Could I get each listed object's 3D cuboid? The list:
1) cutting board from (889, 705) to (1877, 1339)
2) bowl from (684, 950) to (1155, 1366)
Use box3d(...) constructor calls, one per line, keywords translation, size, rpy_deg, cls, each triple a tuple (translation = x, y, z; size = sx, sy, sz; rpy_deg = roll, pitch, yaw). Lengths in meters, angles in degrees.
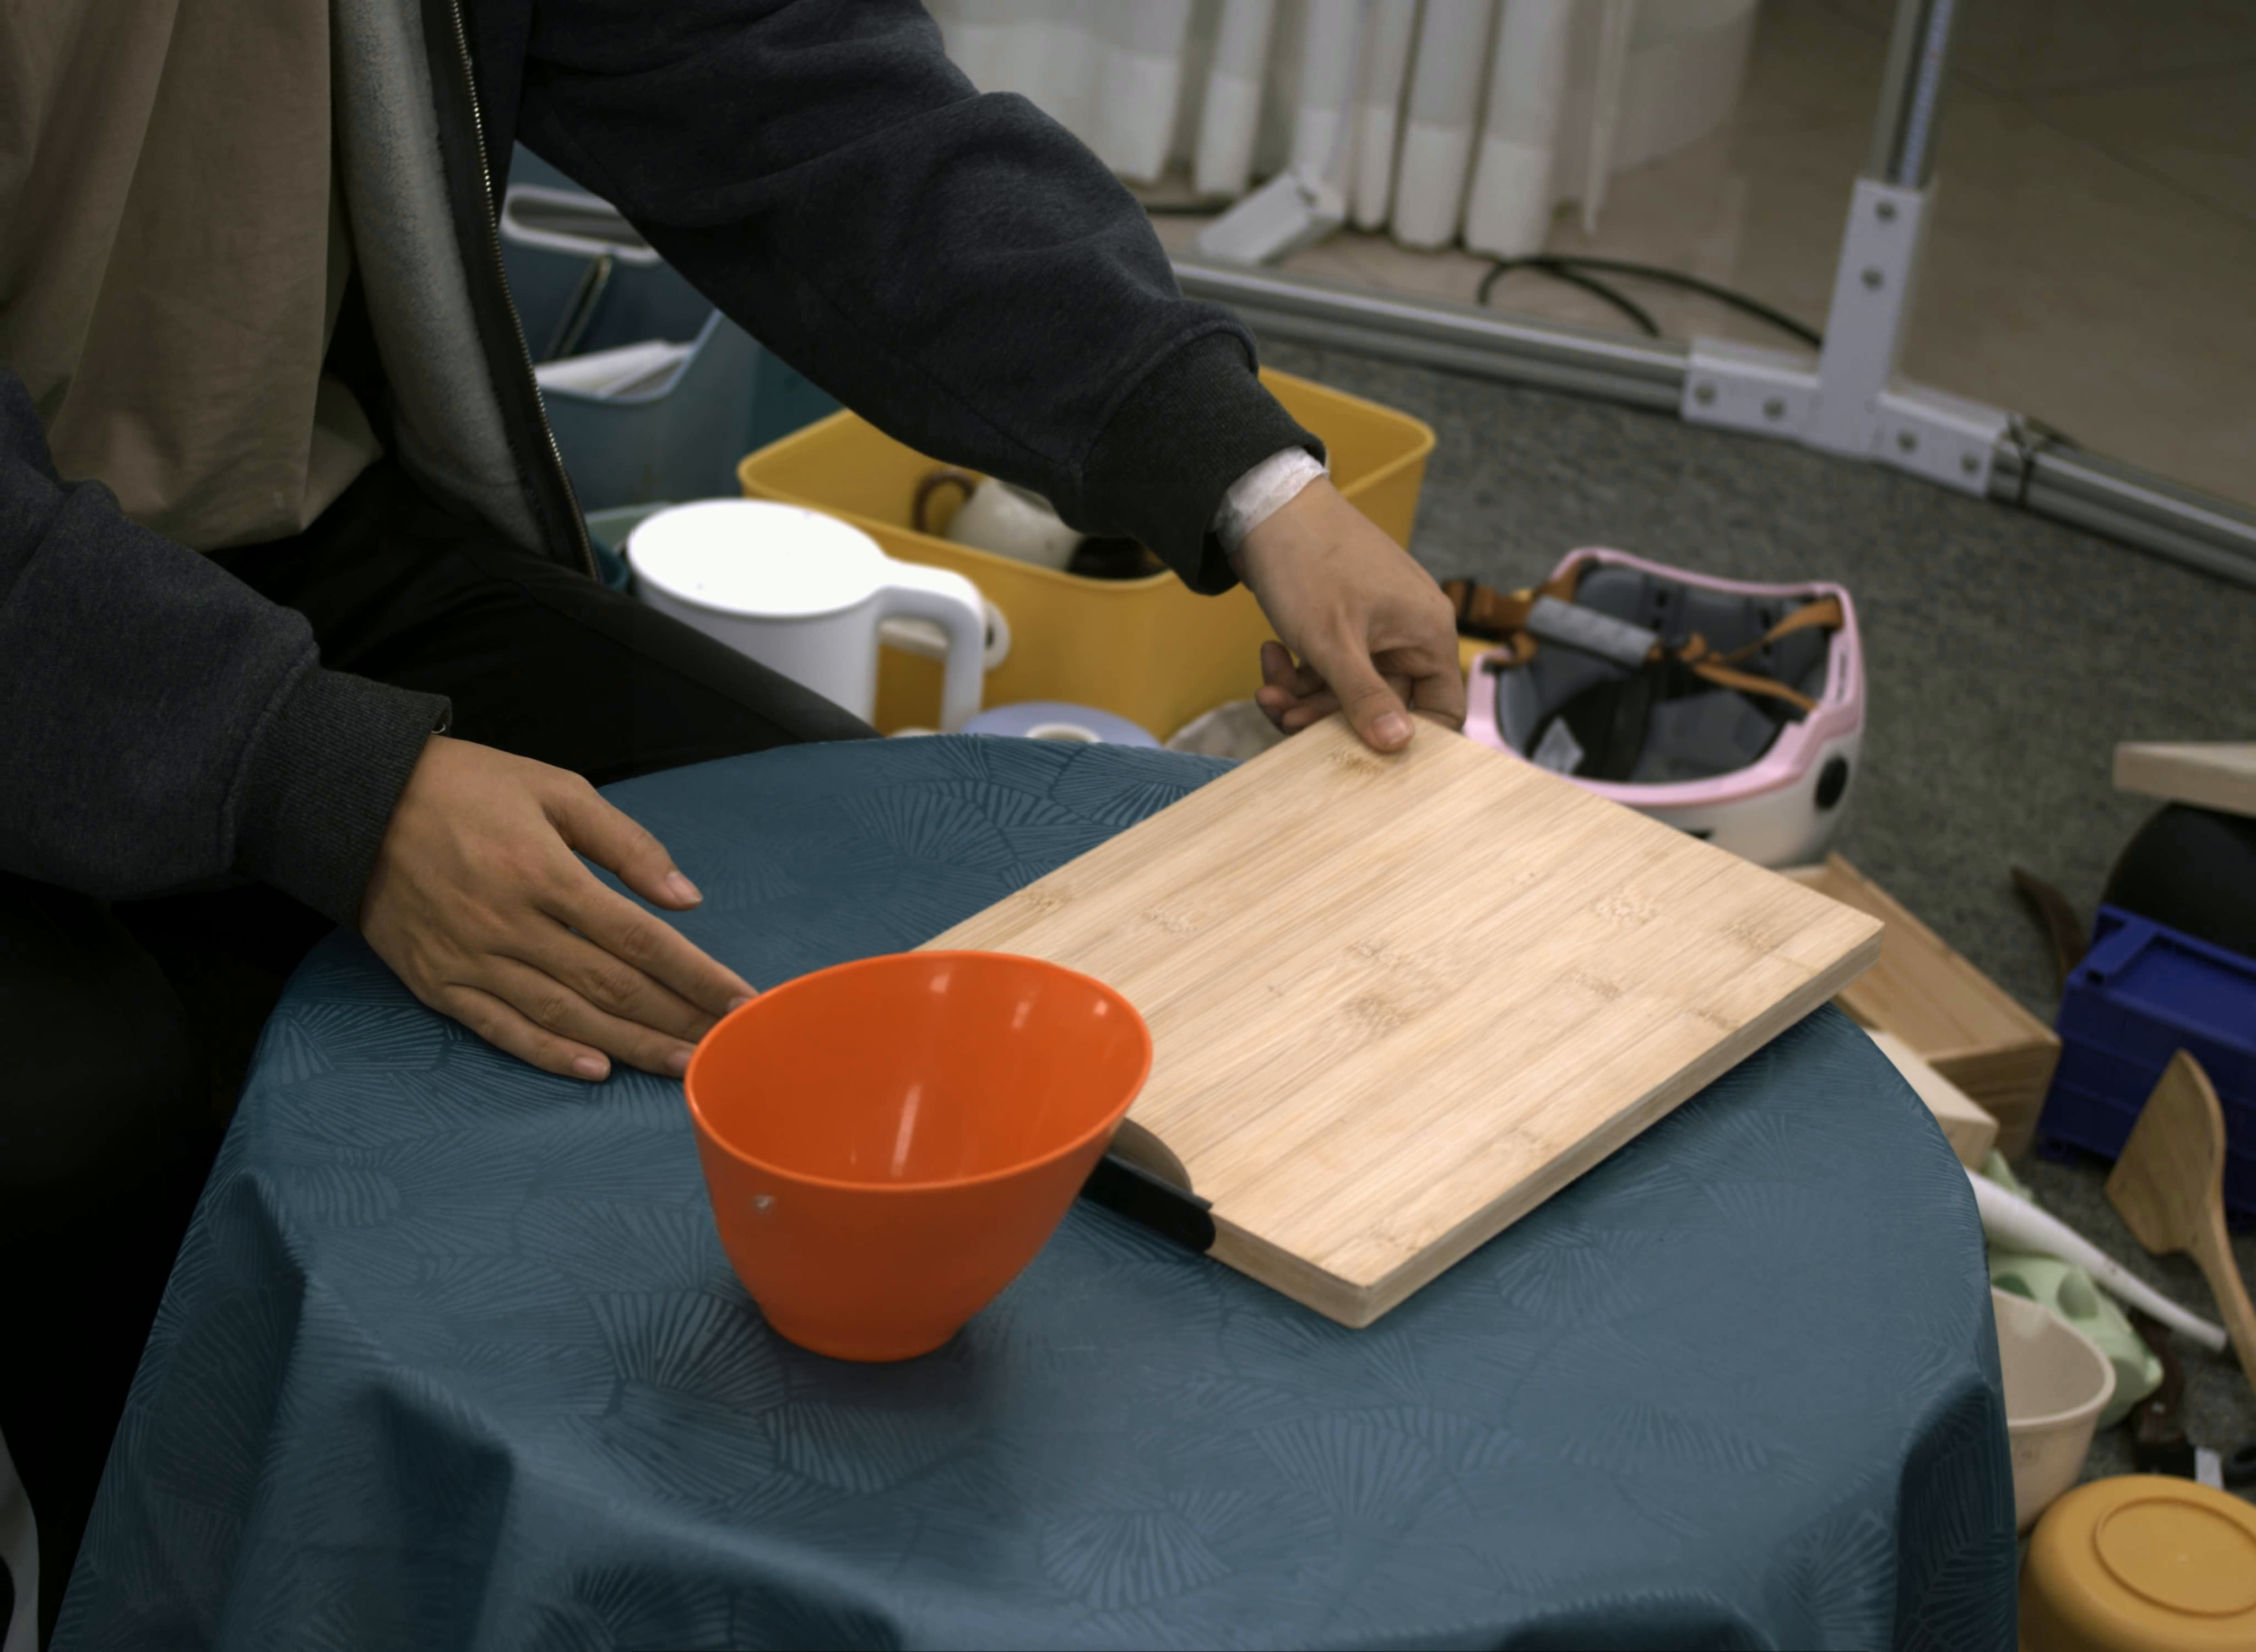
box3d(translation=(0.080, 0.061, 1.911), size=(0.252, 0.023, 0.347), rpy_deg=(24, 33, 30), cls="cutting board")
box3d(translation=(-0.070, 0.112, 1.696), size=(0.147, 0.104, 0.149), rpy_deg=(5, 28, -3), cls="bowl")
